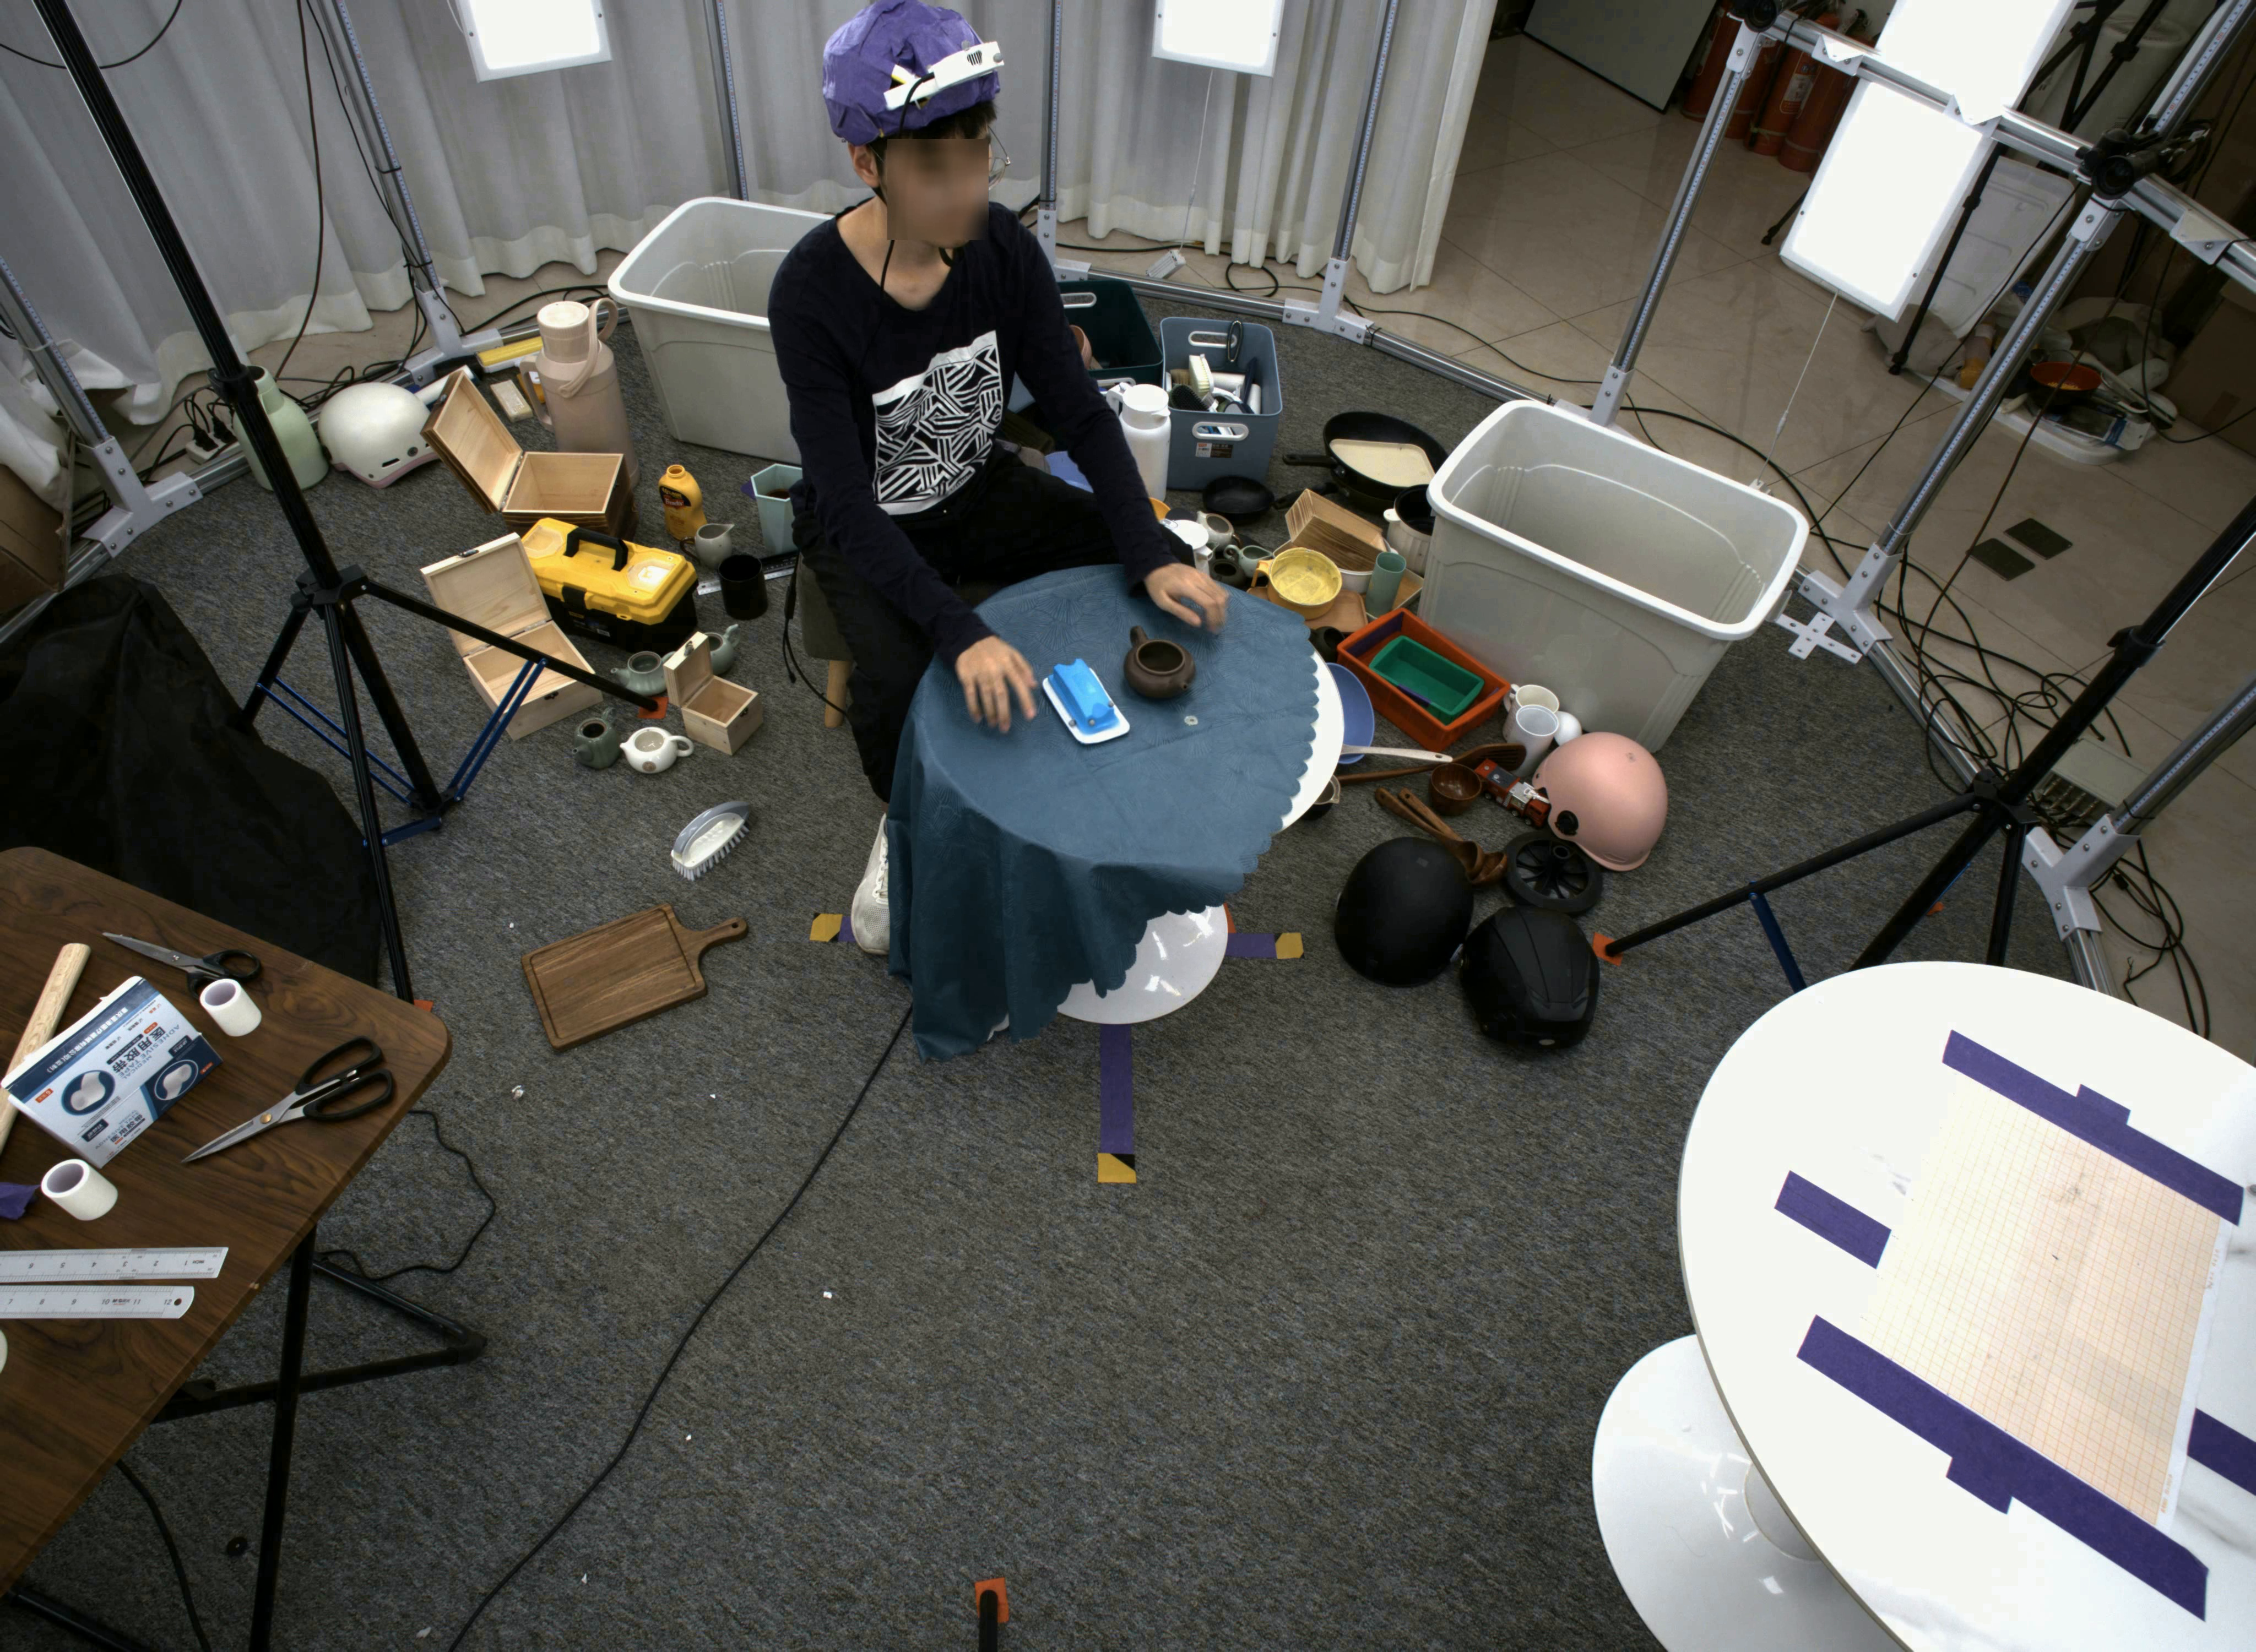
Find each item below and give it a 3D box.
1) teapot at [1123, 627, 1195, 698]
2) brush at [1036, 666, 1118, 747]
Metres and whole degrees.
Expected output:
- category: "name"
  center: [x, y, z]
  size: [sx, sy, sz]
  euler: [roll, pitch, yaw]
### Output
- category: "teapot"
  center: [0.042, -0.230, 1.836]
  size: [0.103, 0.052, 0.156]
  euler: [-24, 54, -24]
- category: "brush"
  center: [-0.069, -0.174, 1.792]
  size: [0.084, 0.054, 0.147]
  euler: [-11, 51, -22]
